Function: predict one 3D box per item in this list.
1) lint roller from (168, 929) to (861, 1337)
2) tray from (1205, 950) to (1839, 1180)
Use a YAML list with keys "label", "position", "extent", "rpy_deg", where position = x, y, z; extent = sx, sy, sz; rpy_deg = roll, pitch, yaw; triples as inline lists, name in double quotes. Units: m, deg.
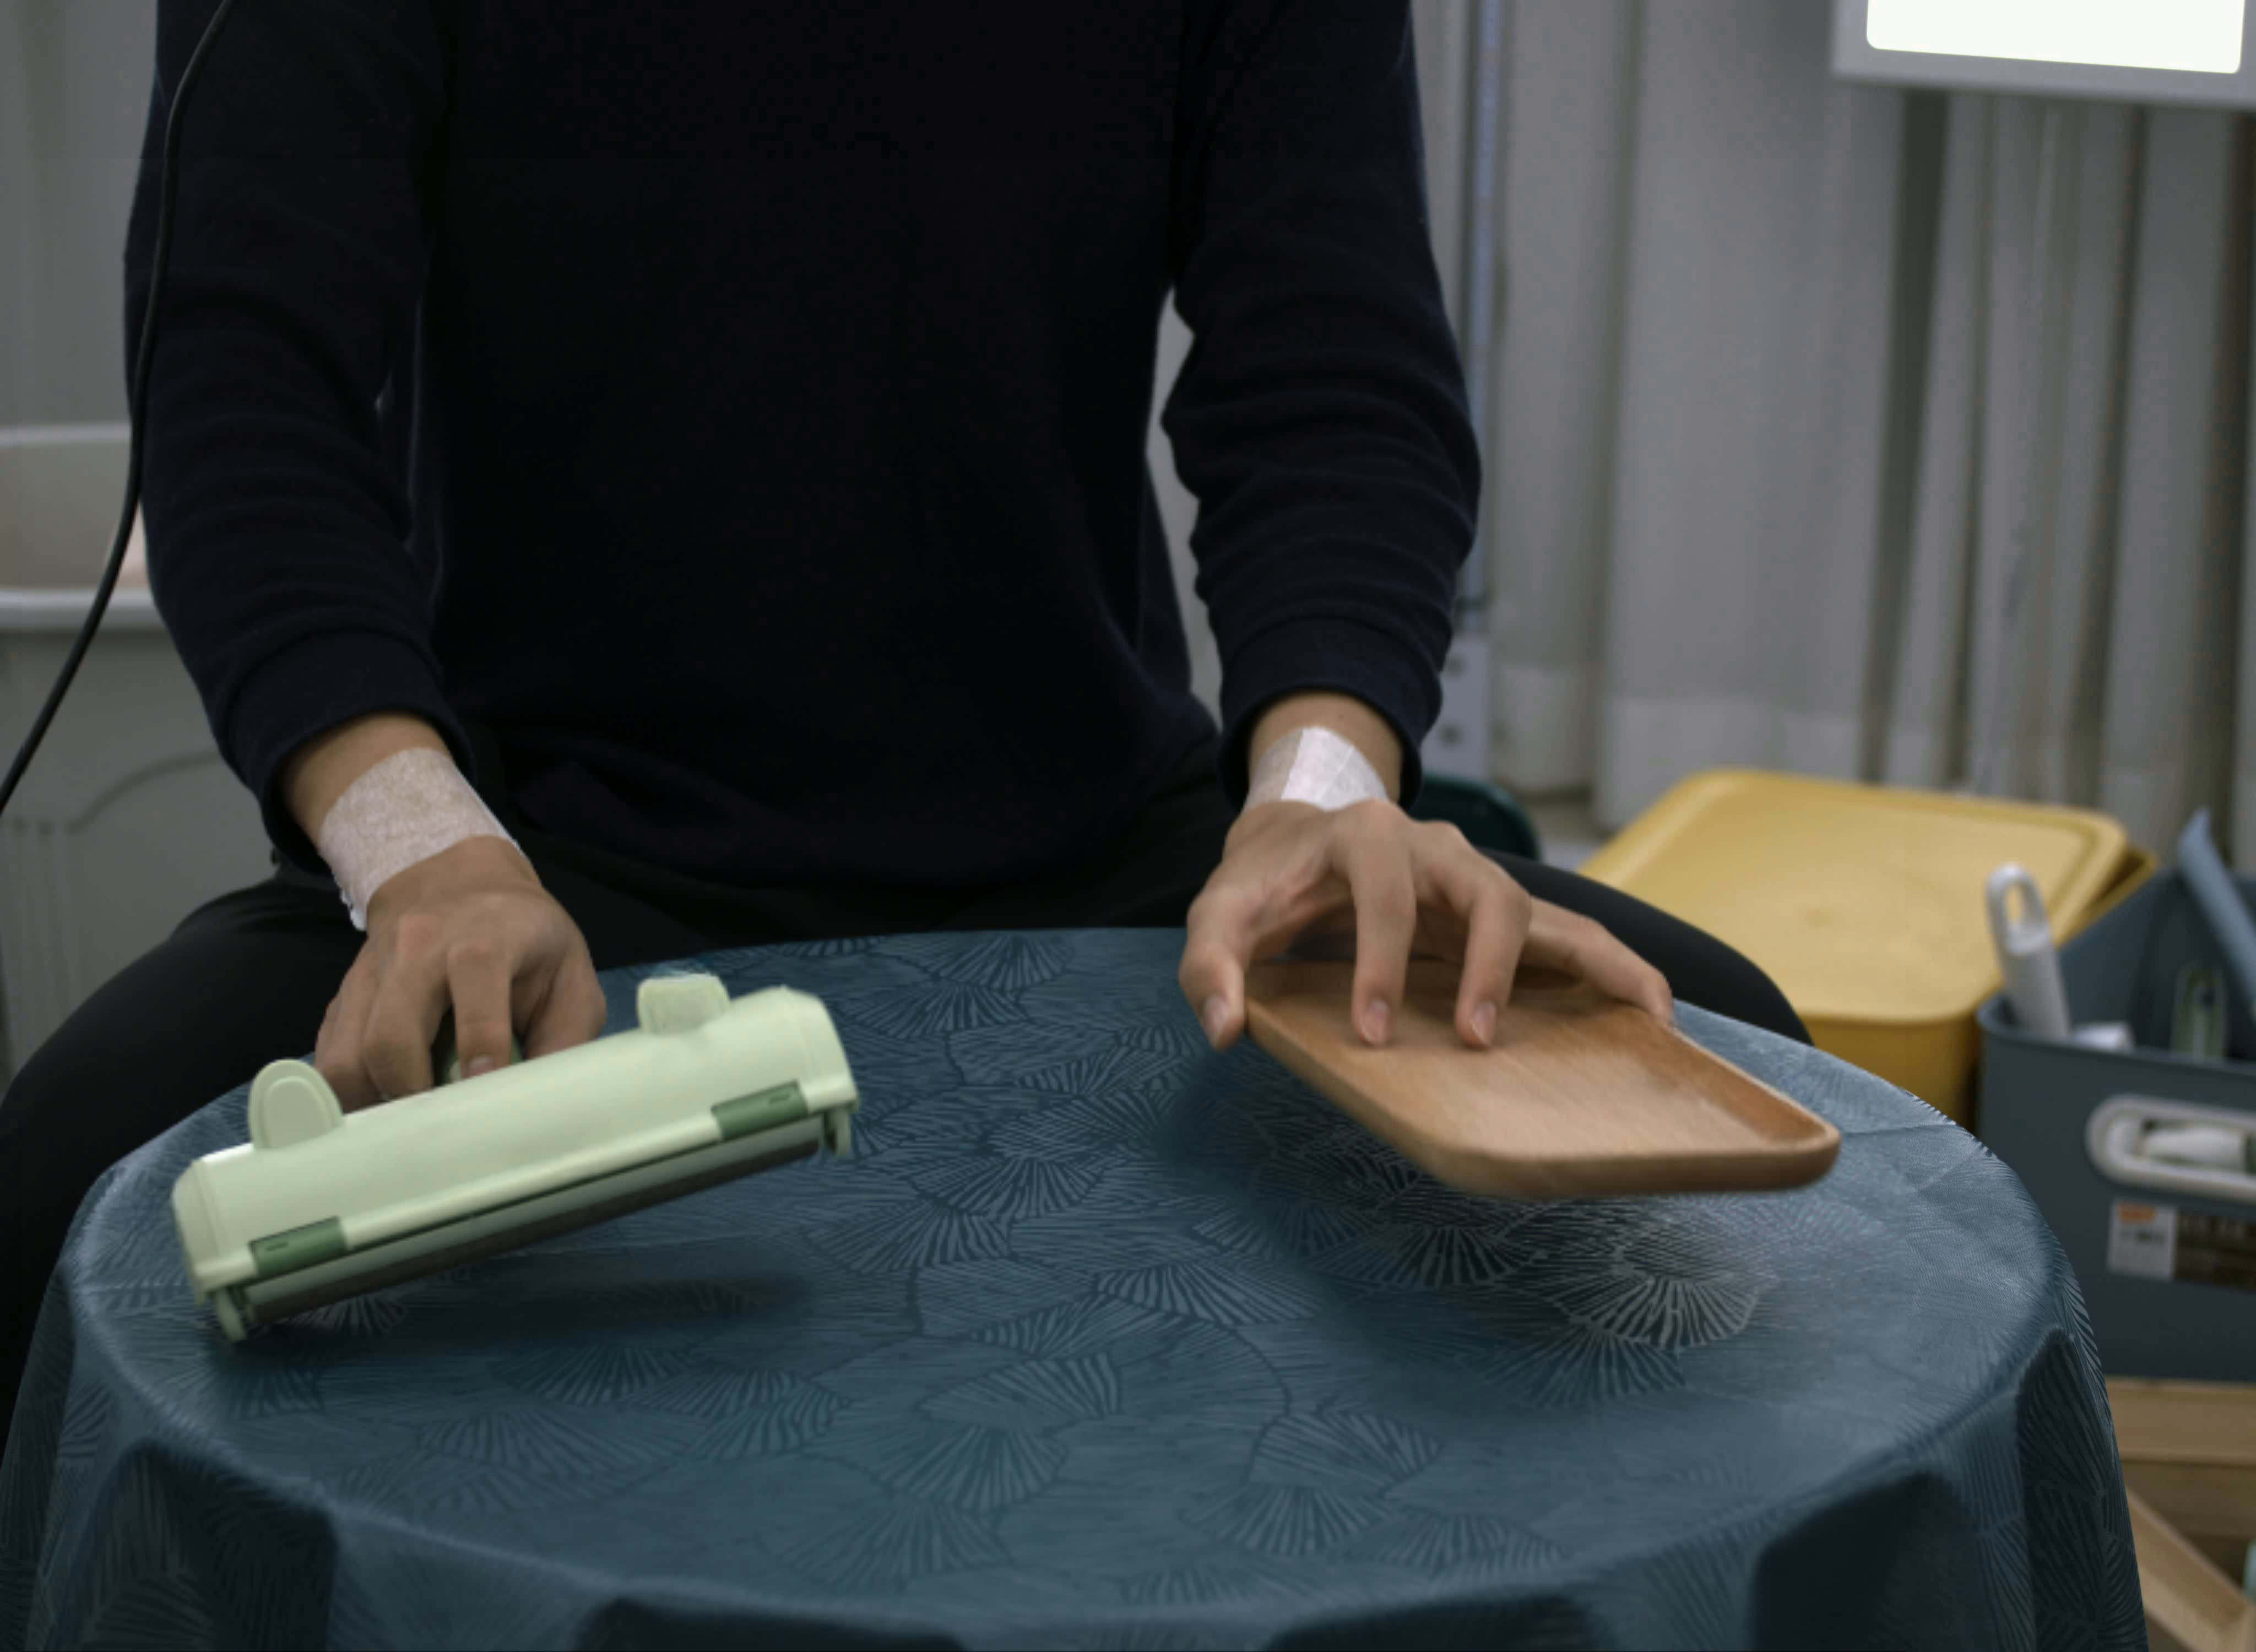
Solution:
- label: "lint roller"
  position: [-0.194, 0.064, 1.552]
  extent: [0.198, 0.083, 0.181]
  rpy_deg: [-17, 30, -13]
- label: "tray"
  position: [0.113, 0.070, 1.589]
  extent: [0.131, 0.023, 0.248]
  rpy_deg: [3, 9, -17]
